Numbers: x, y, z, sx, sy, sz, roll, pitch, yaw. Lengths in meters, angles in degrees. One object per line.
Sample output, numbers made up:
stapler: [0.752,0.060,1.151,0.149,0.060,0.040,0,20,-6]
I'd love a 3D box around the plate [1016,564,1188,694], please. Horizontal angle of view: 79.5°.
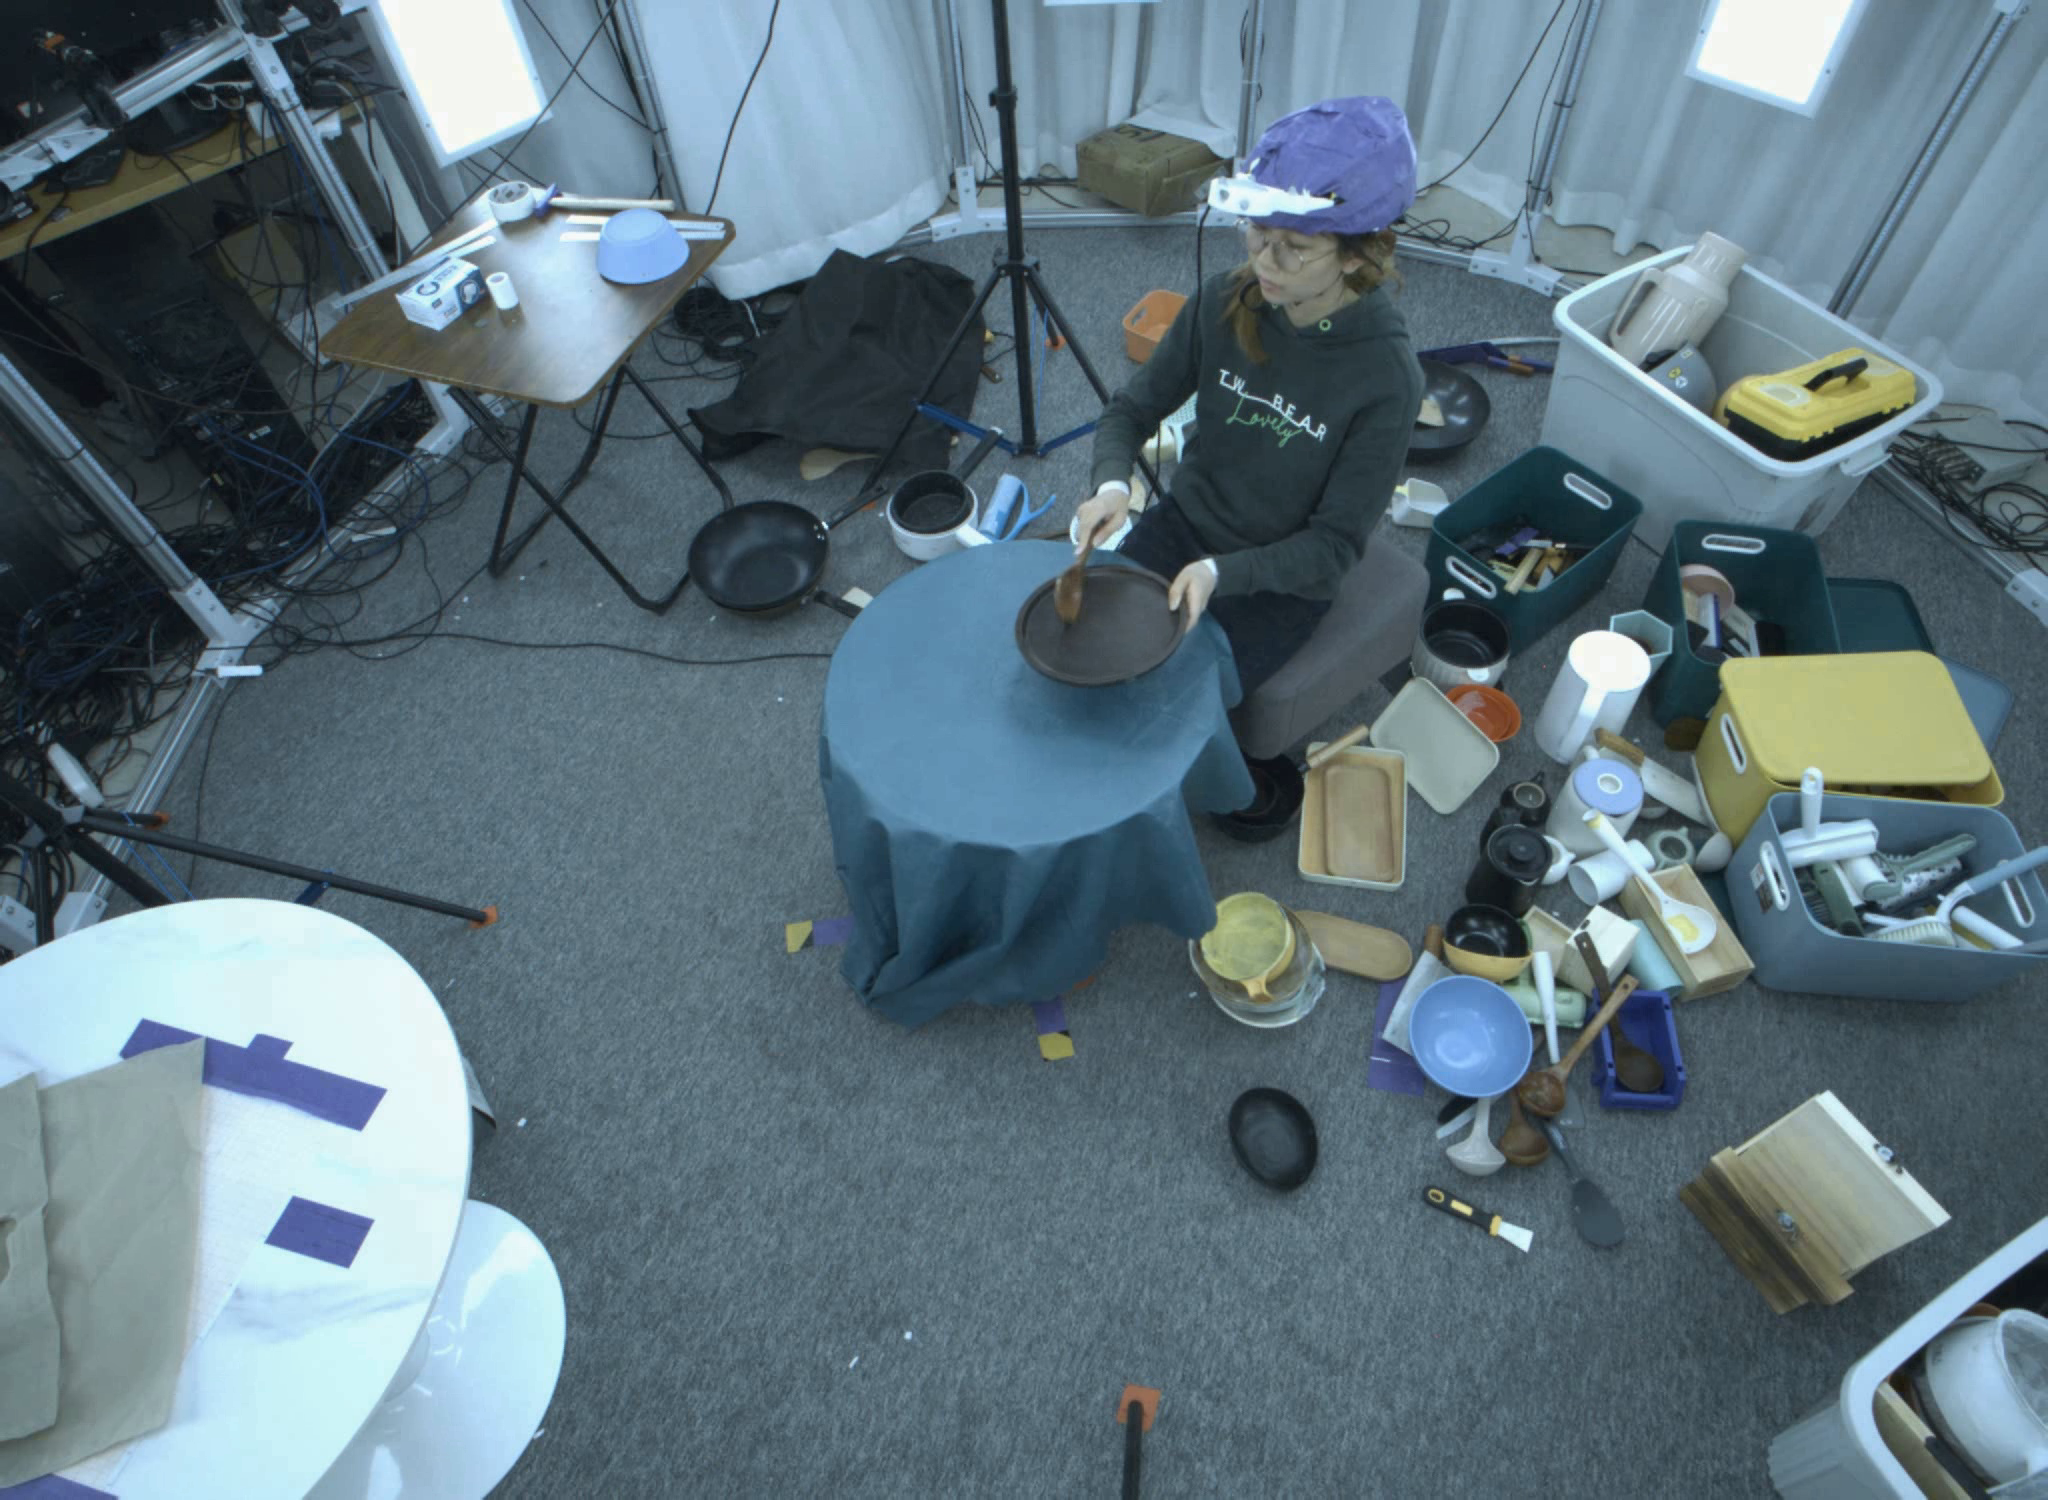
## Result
plate: [0.114,-0.176,1.800,0.254,0.029,0.252,-4,51,6]

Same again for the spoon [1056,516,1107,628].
spoon: [0.085,-0.271,1.831,0.017,0.077,0.215,4,54,28]
